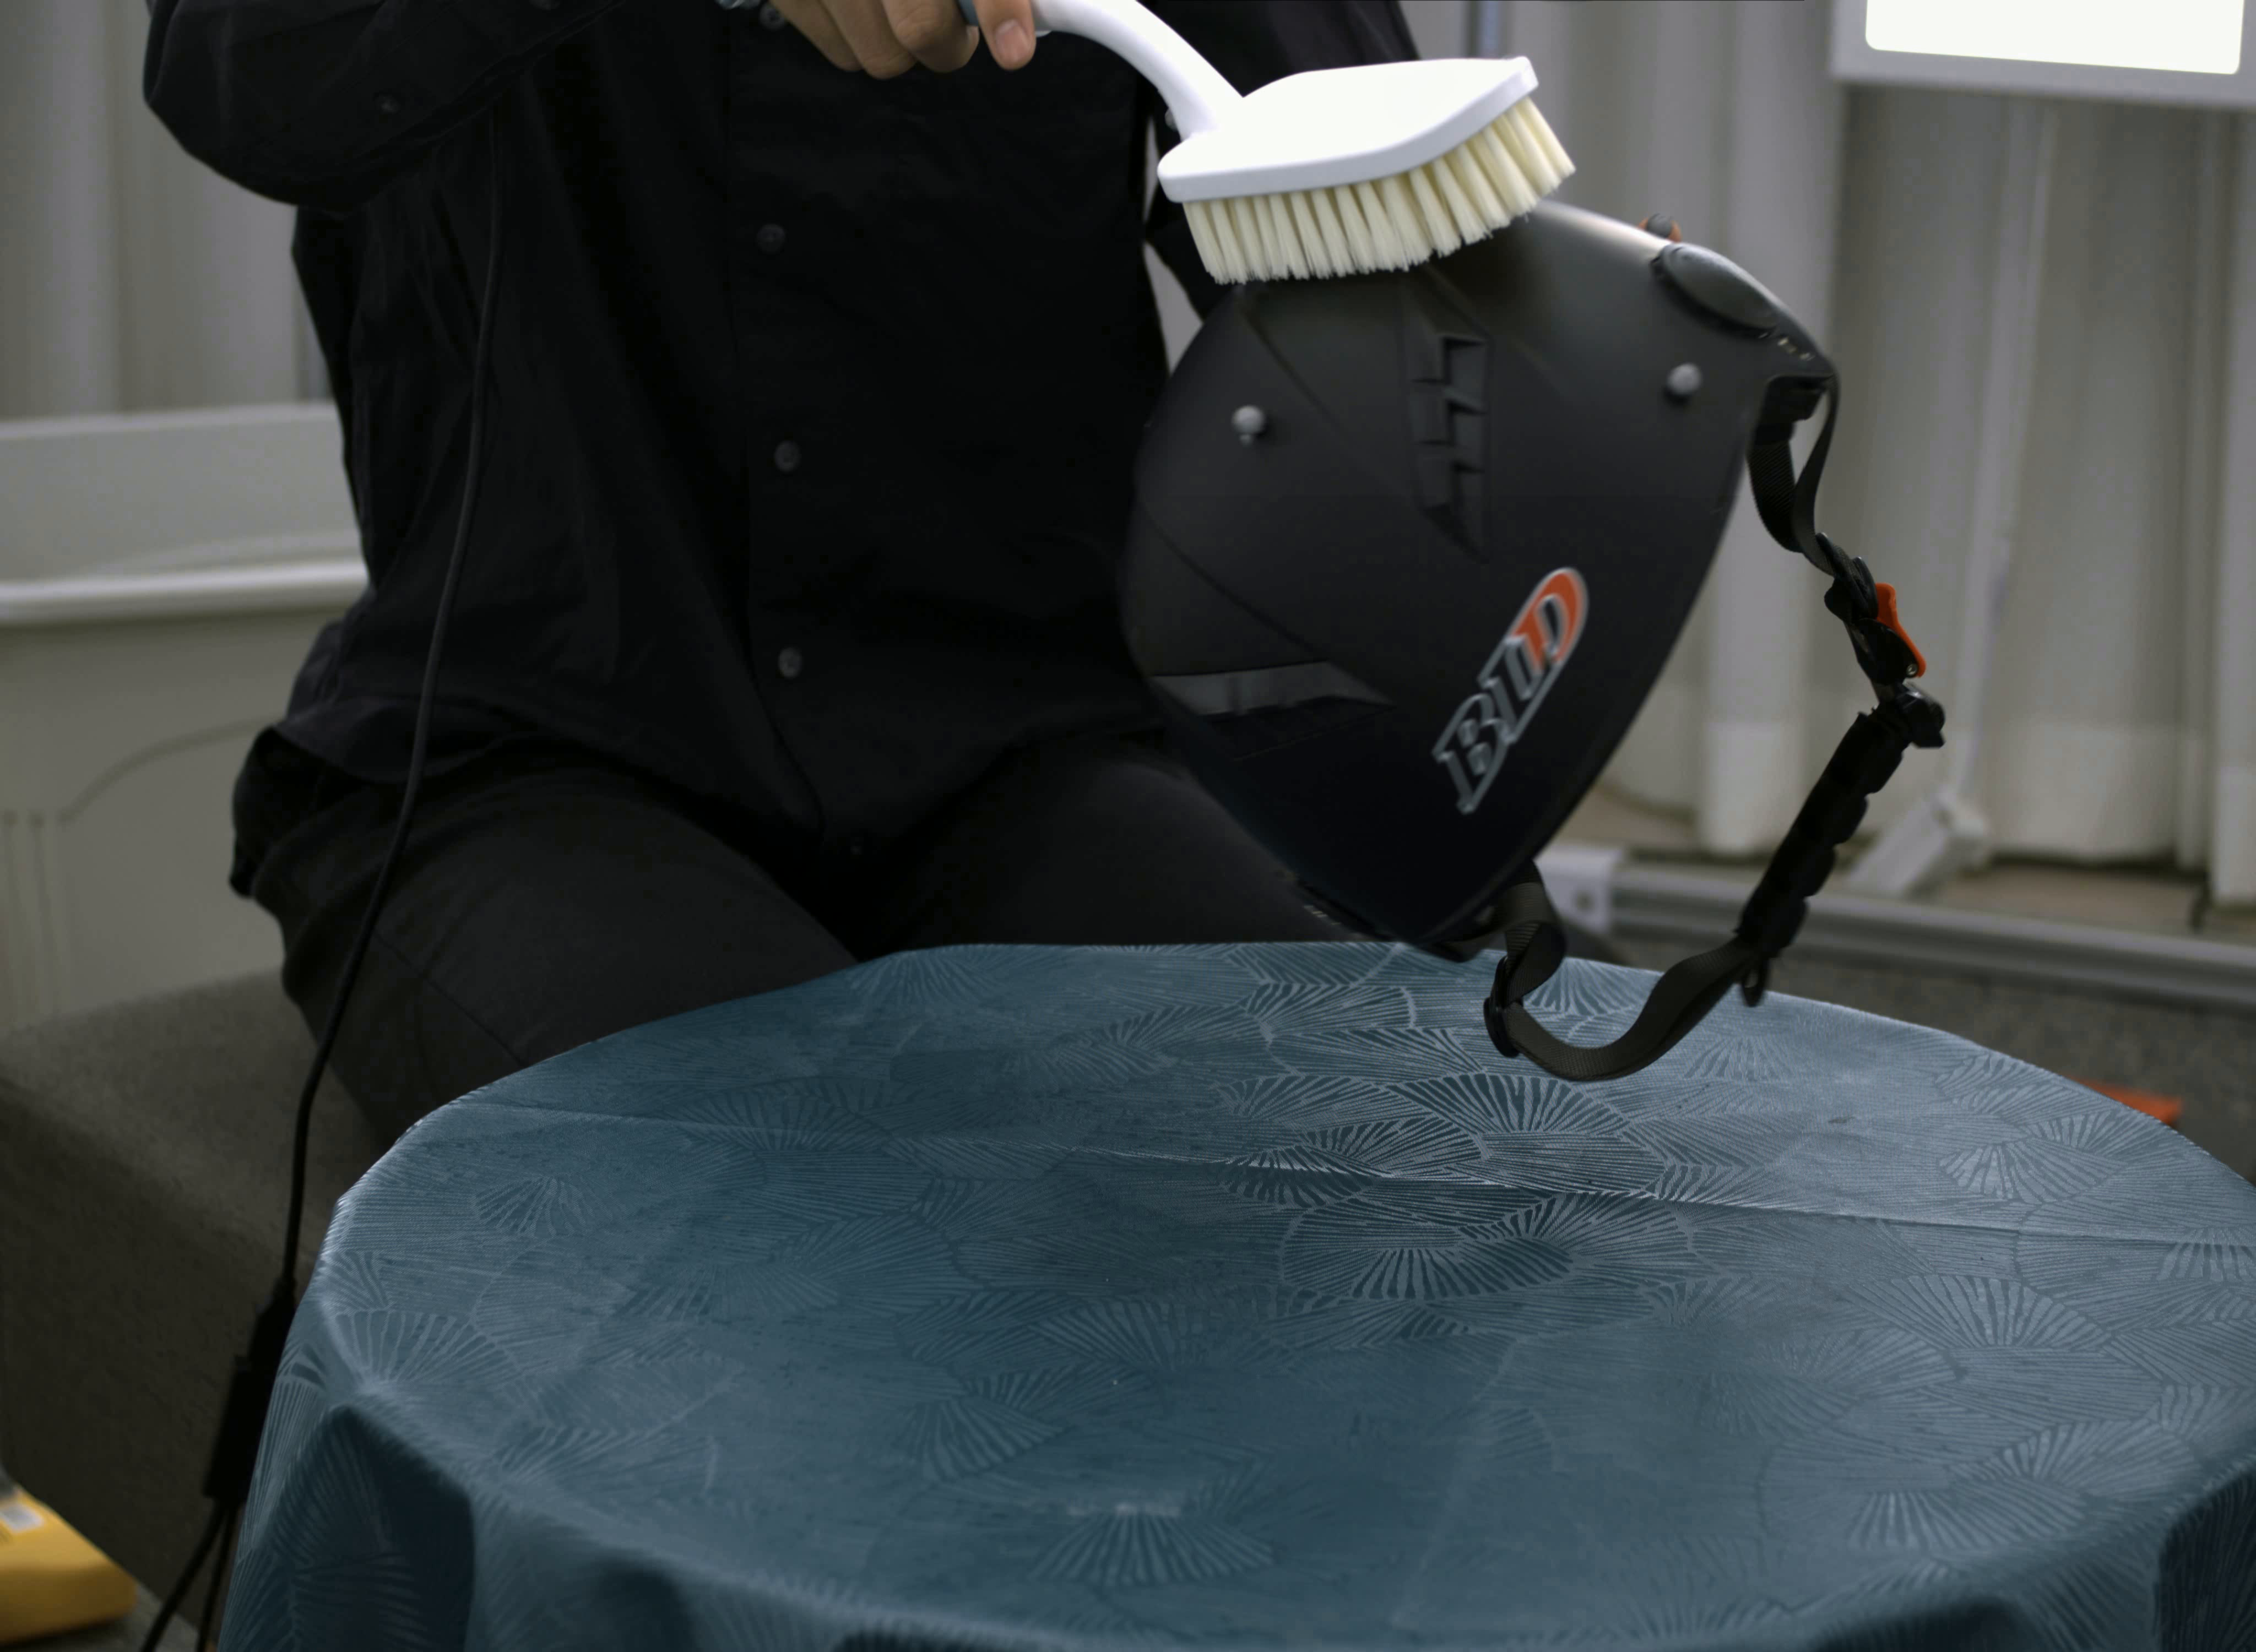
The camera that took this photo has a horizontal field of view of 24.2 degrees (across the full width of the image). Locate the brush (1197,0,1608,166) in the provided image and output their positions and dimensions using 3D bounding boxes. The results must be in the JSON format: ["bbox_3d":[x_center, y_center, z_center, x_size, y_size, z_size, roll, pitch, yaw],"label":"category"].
[{"bbox_3d":[0.016,-0.248,1.608,0.321,0.085,0.084,16,5,39],"label":"brush"}]

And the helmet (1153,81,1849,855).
[{"bbox_3d":[0.099,-0.129,1.596,0.173,0.247,0.275,27,18,-10],"label":"helmet"}]
